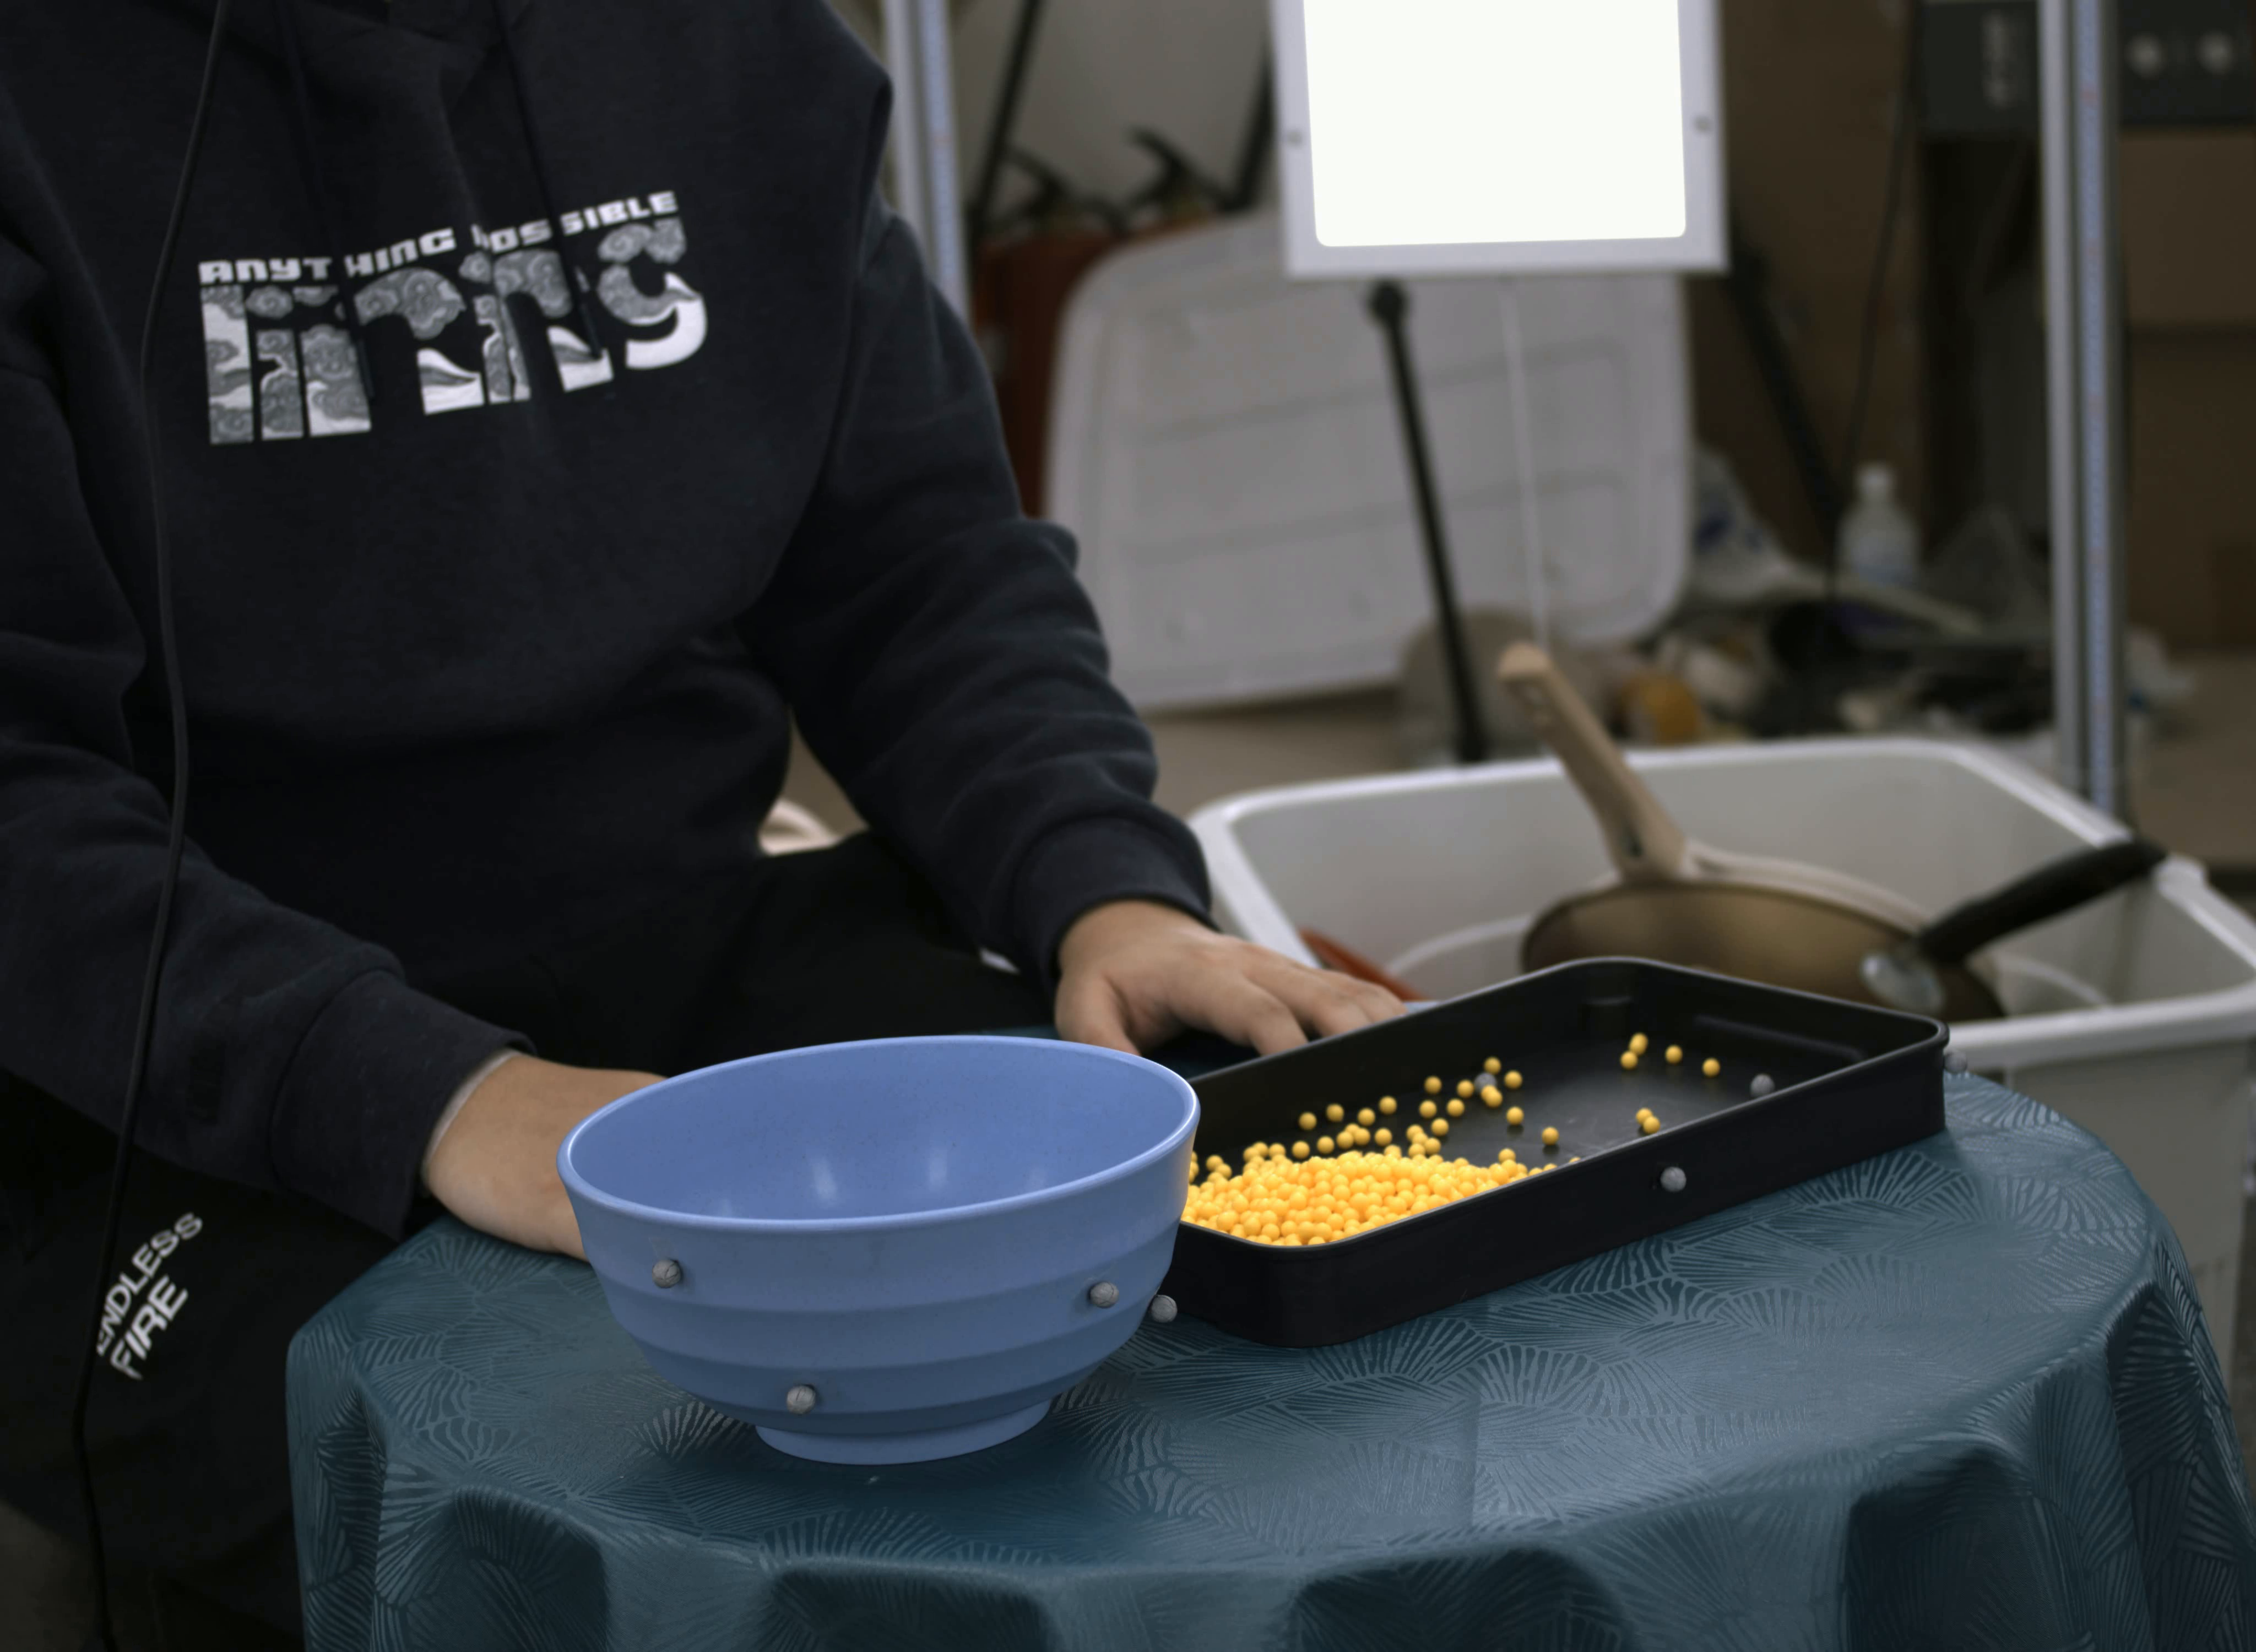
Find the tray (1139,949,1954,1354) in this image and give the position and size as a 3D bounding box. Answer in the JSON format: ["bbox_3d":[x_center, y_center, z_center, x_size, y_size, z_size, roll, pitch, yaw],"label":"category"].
[{"bbox_3d":[0.120,0.105,1.873,0.310,0.037,0.188,-17,17,-37],"label":"tray"}]

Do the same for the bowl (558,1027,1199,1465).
[{"bbox_3d":[-0.072,0.134,1.685,0.196,0.096,0.196,-6,15,0],"label":"bowl"}]
